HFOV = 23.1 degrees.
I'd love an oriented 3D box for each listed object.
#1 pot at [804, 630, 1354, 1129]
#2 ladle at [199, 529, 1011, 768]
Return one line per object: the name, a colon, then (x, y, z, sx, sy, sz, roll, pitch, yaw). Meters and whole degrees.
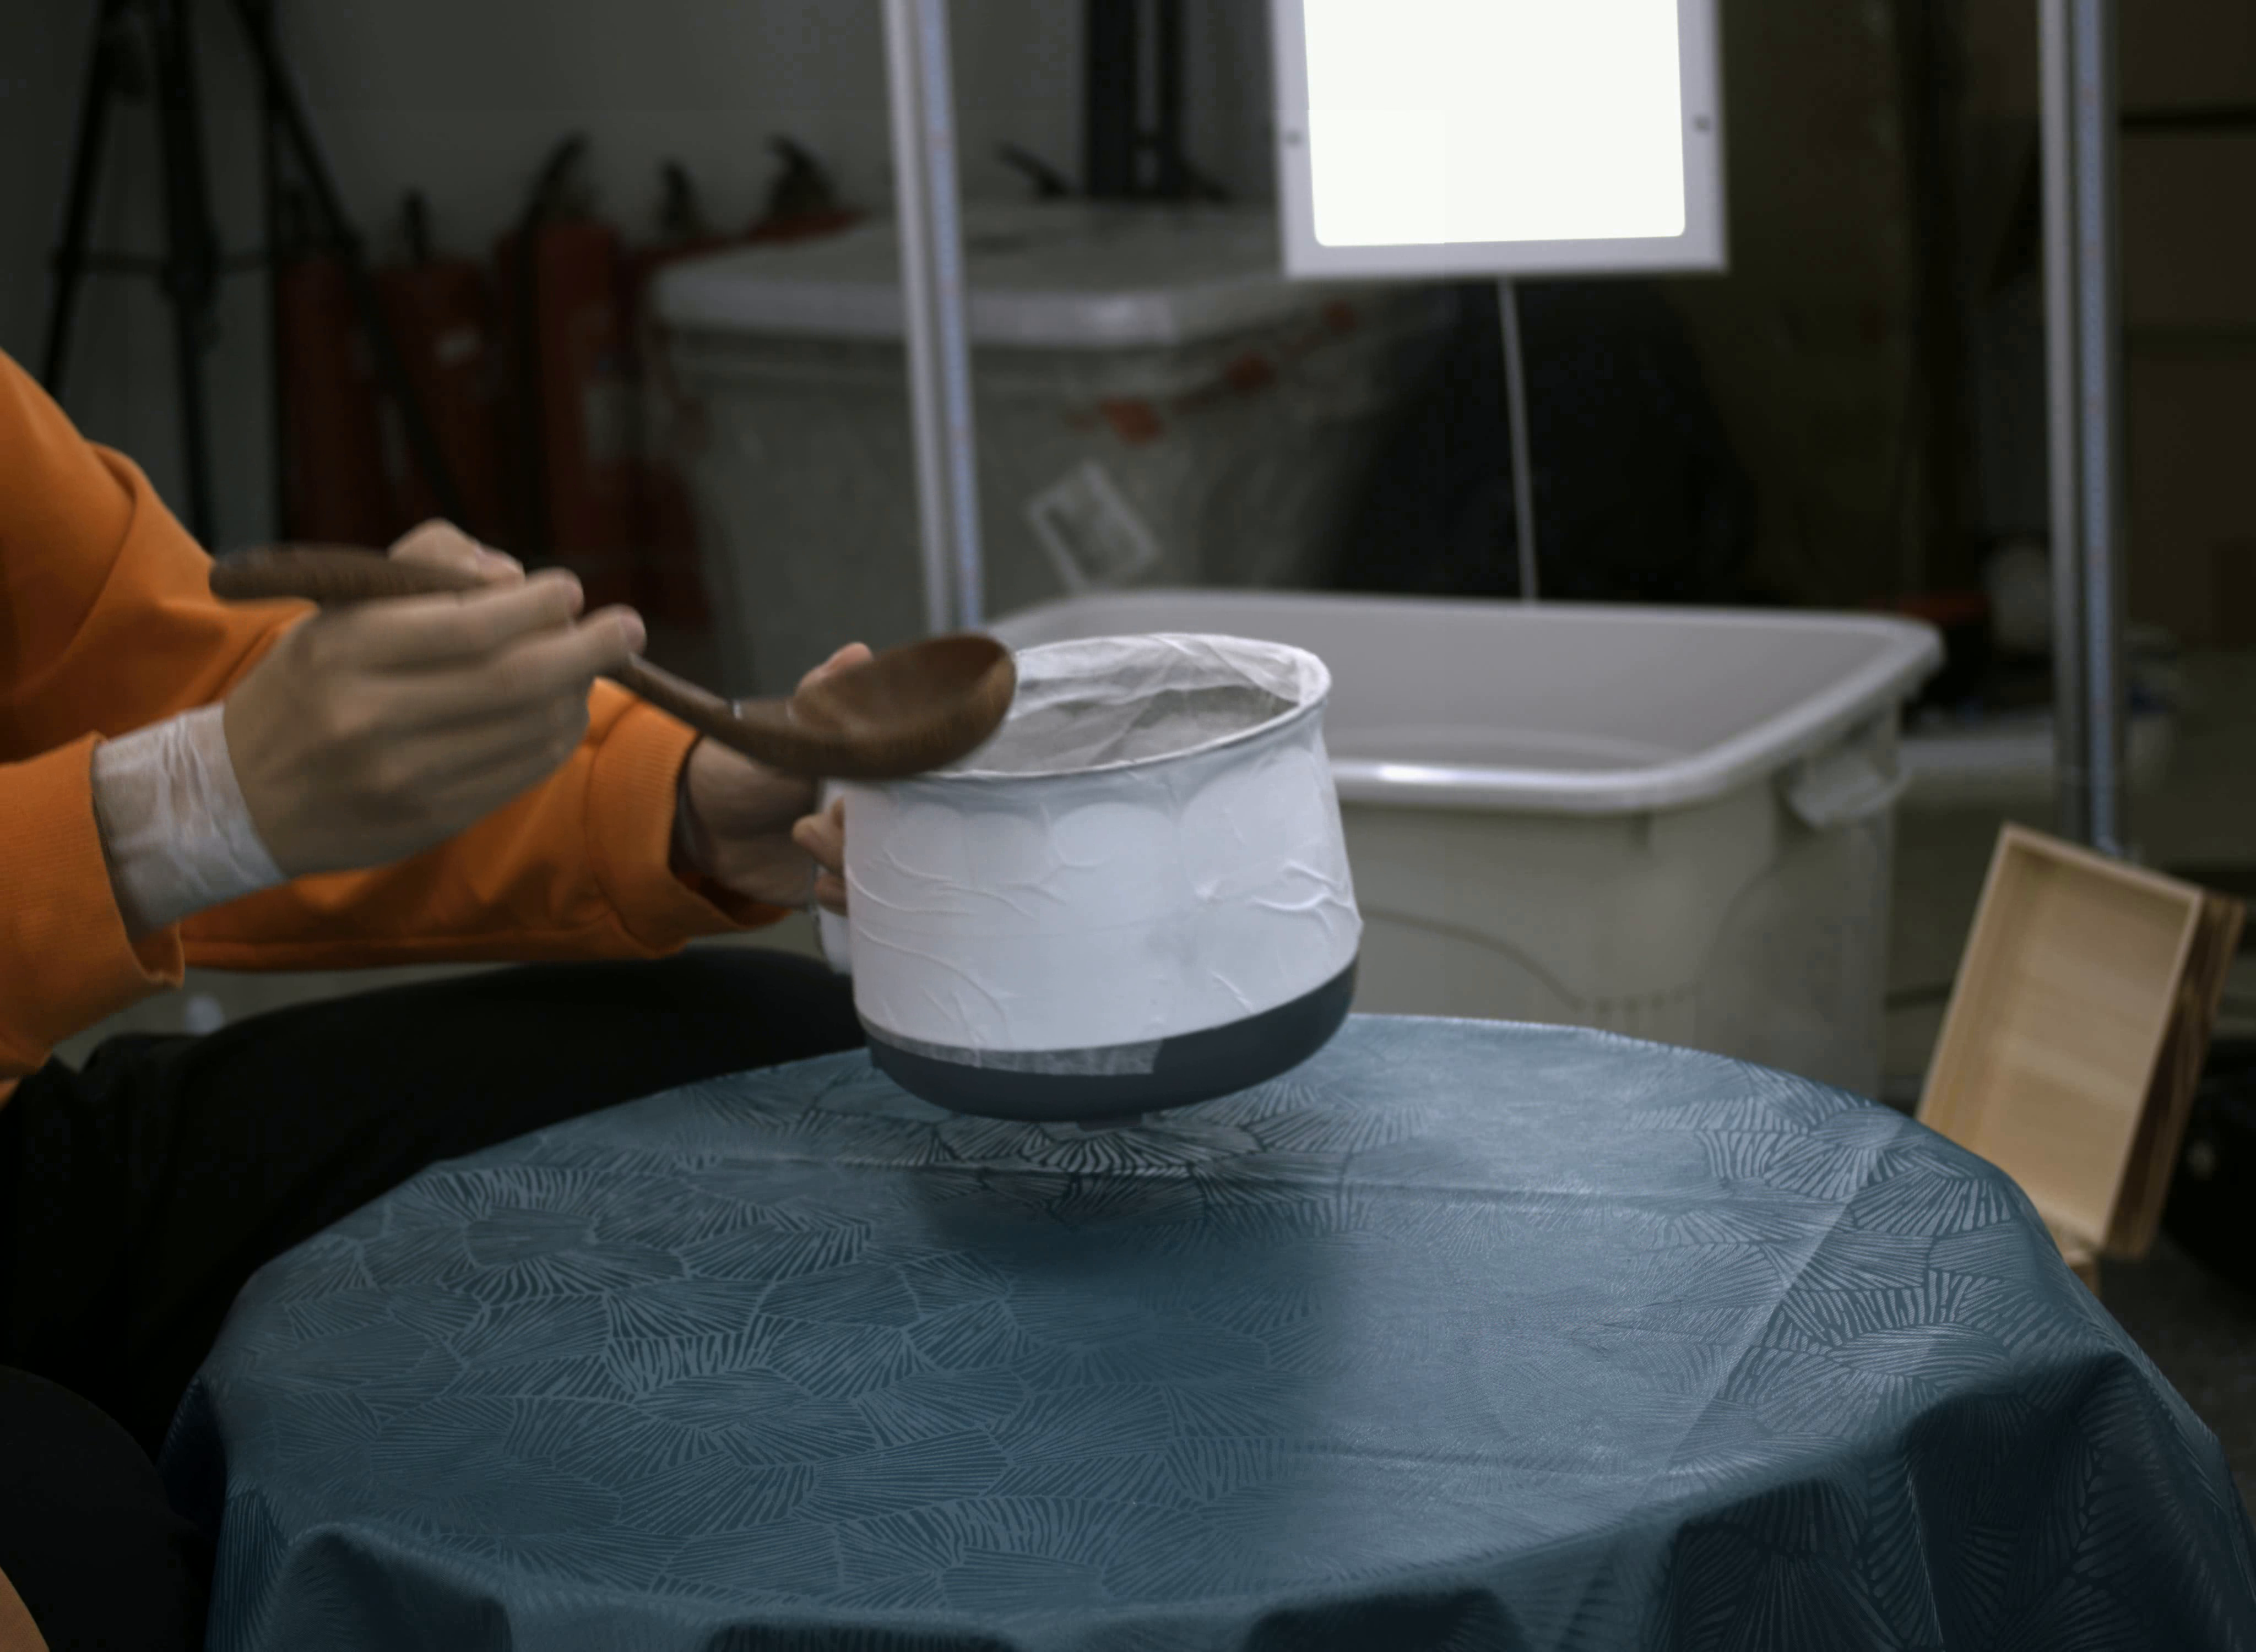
pot: (-0.032, 0.014, 1.922, 0.174, 0.137, 0.239, -20, 20, -40)
ladle: (-0.162, -0.071, 1.746, 0.257, 0.065, 0.077, 18, 7, -16)
